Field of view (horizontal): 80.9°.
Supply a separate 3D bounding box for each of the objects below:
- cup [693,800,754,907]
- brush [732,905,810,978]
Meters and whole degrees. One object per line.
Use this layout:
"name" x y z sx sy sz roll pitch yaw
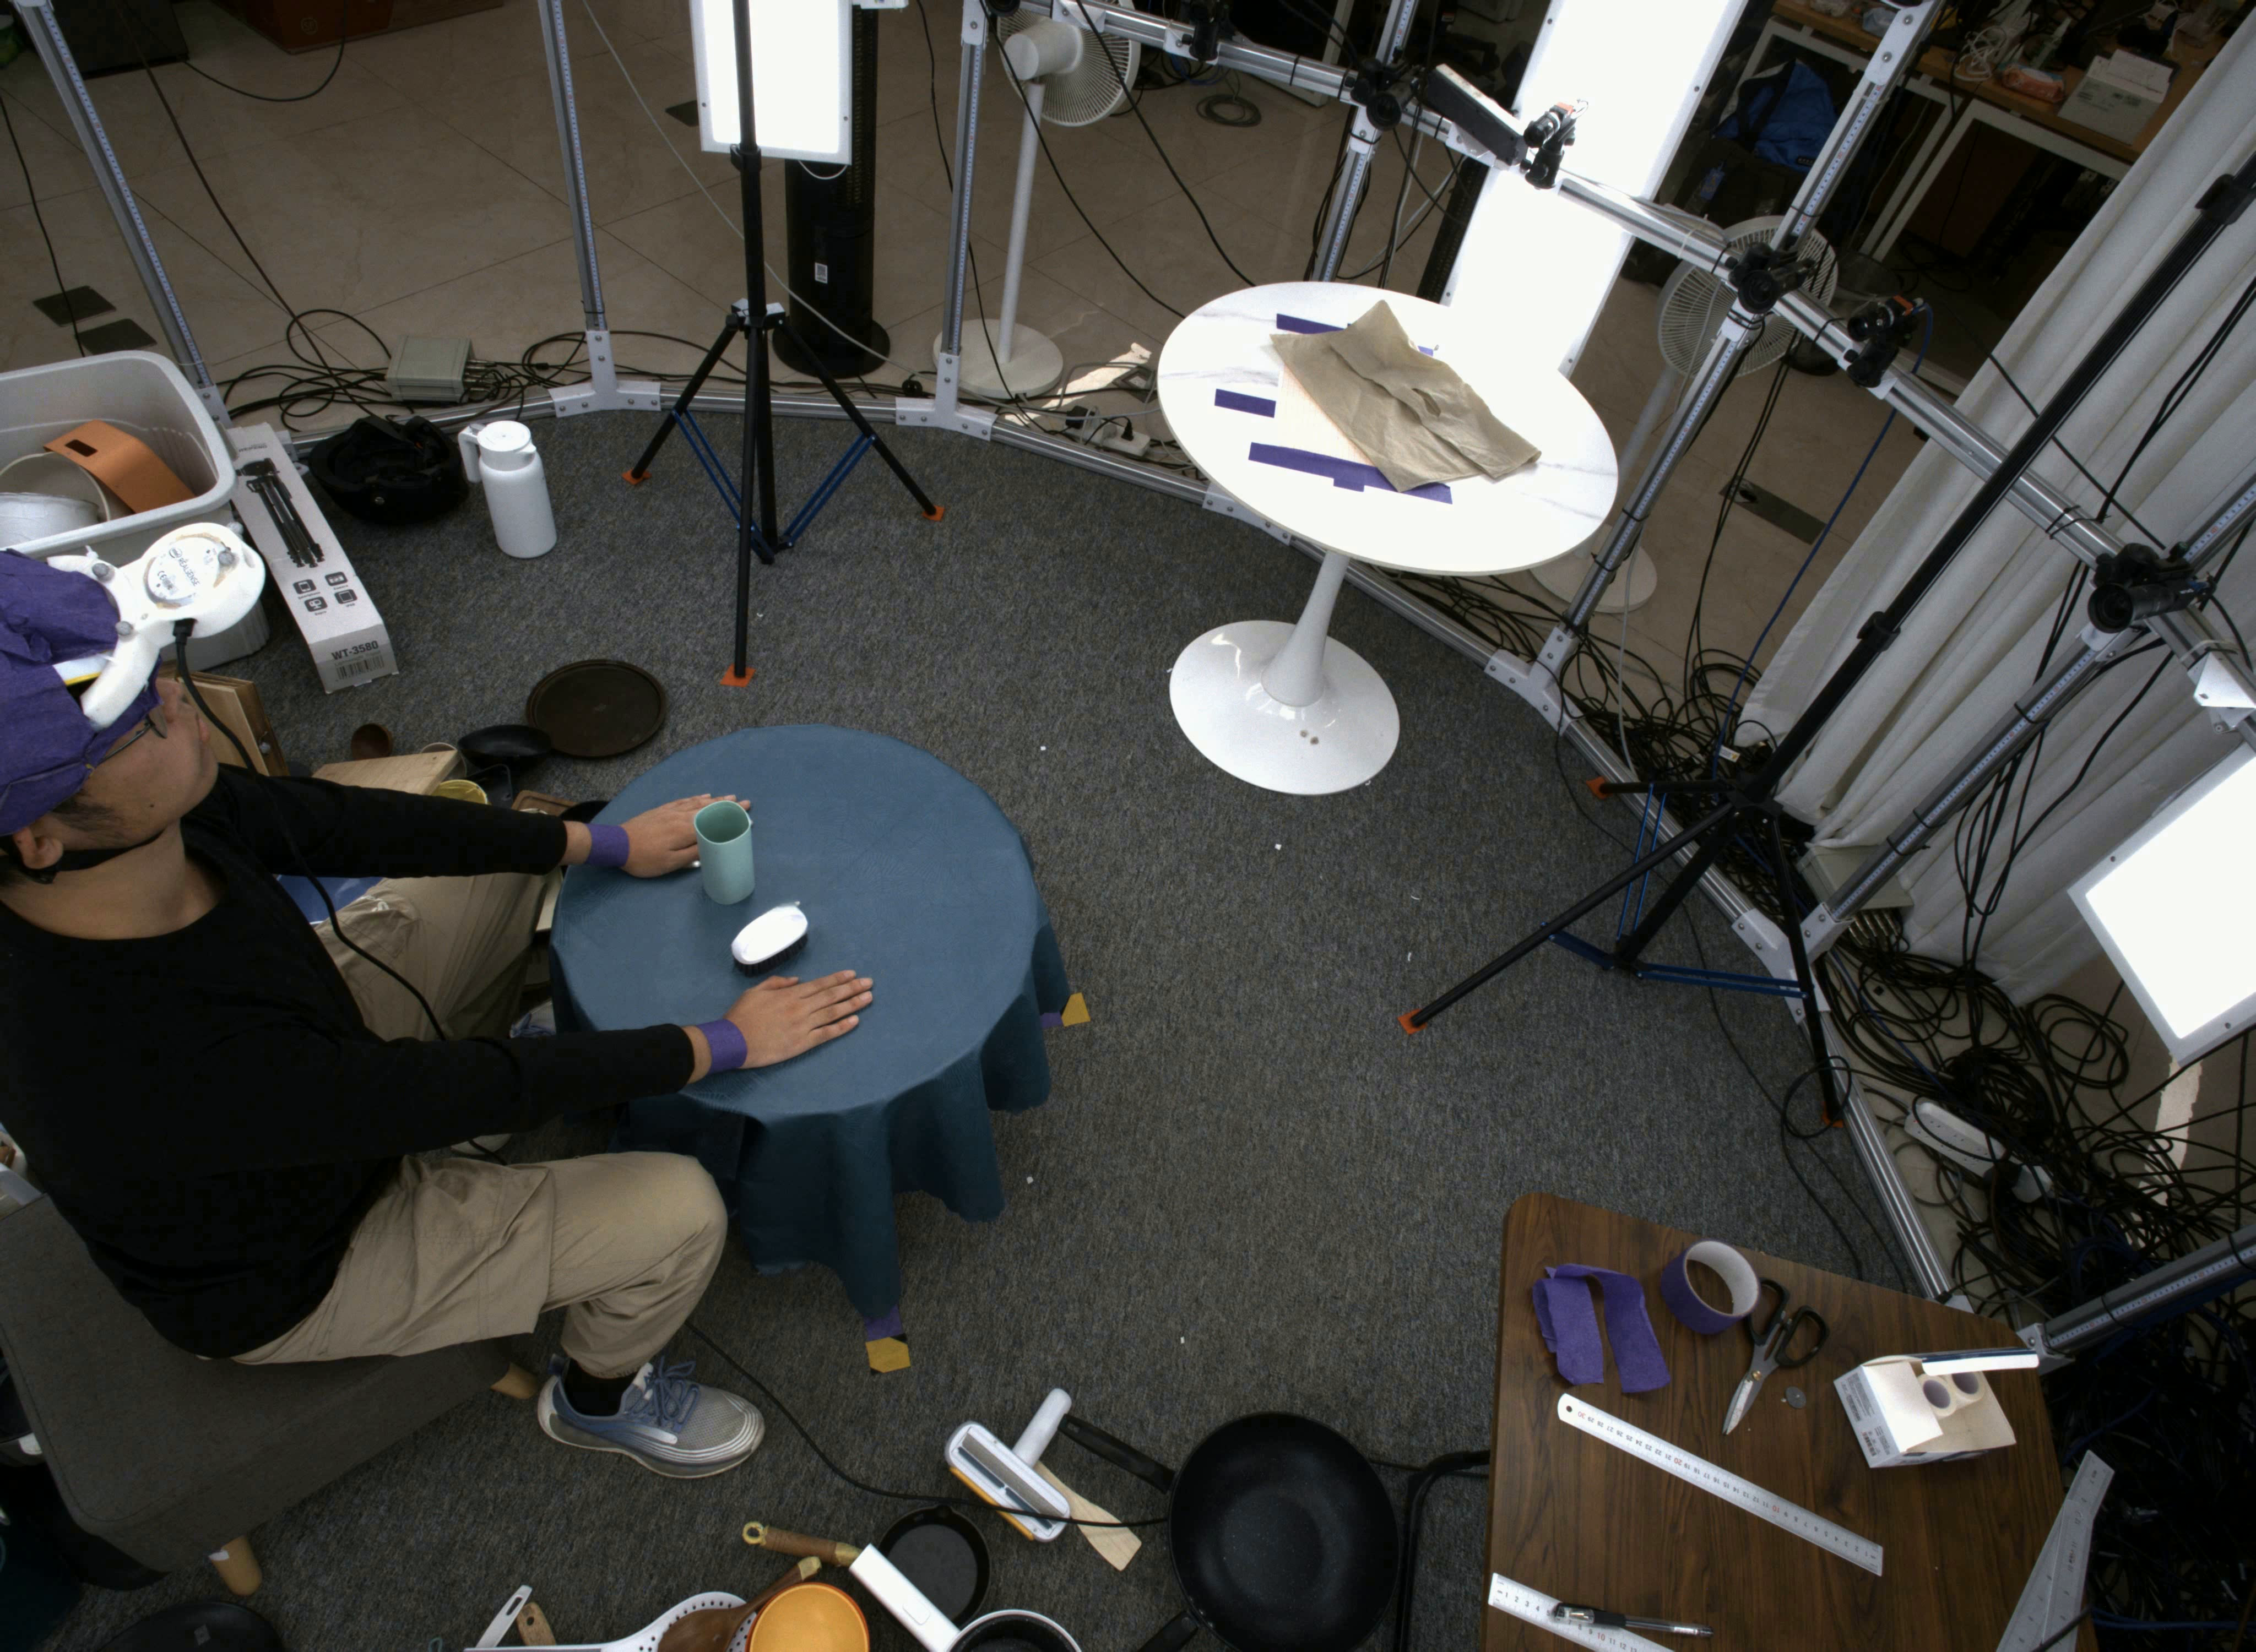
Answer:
"cup" -0.500 0.035 1.603 0.066 0.135 0.065 7 51 -7
"brush" -0.437 0.131 1.579 0.099 0.074 0.049 -31 63 -32
